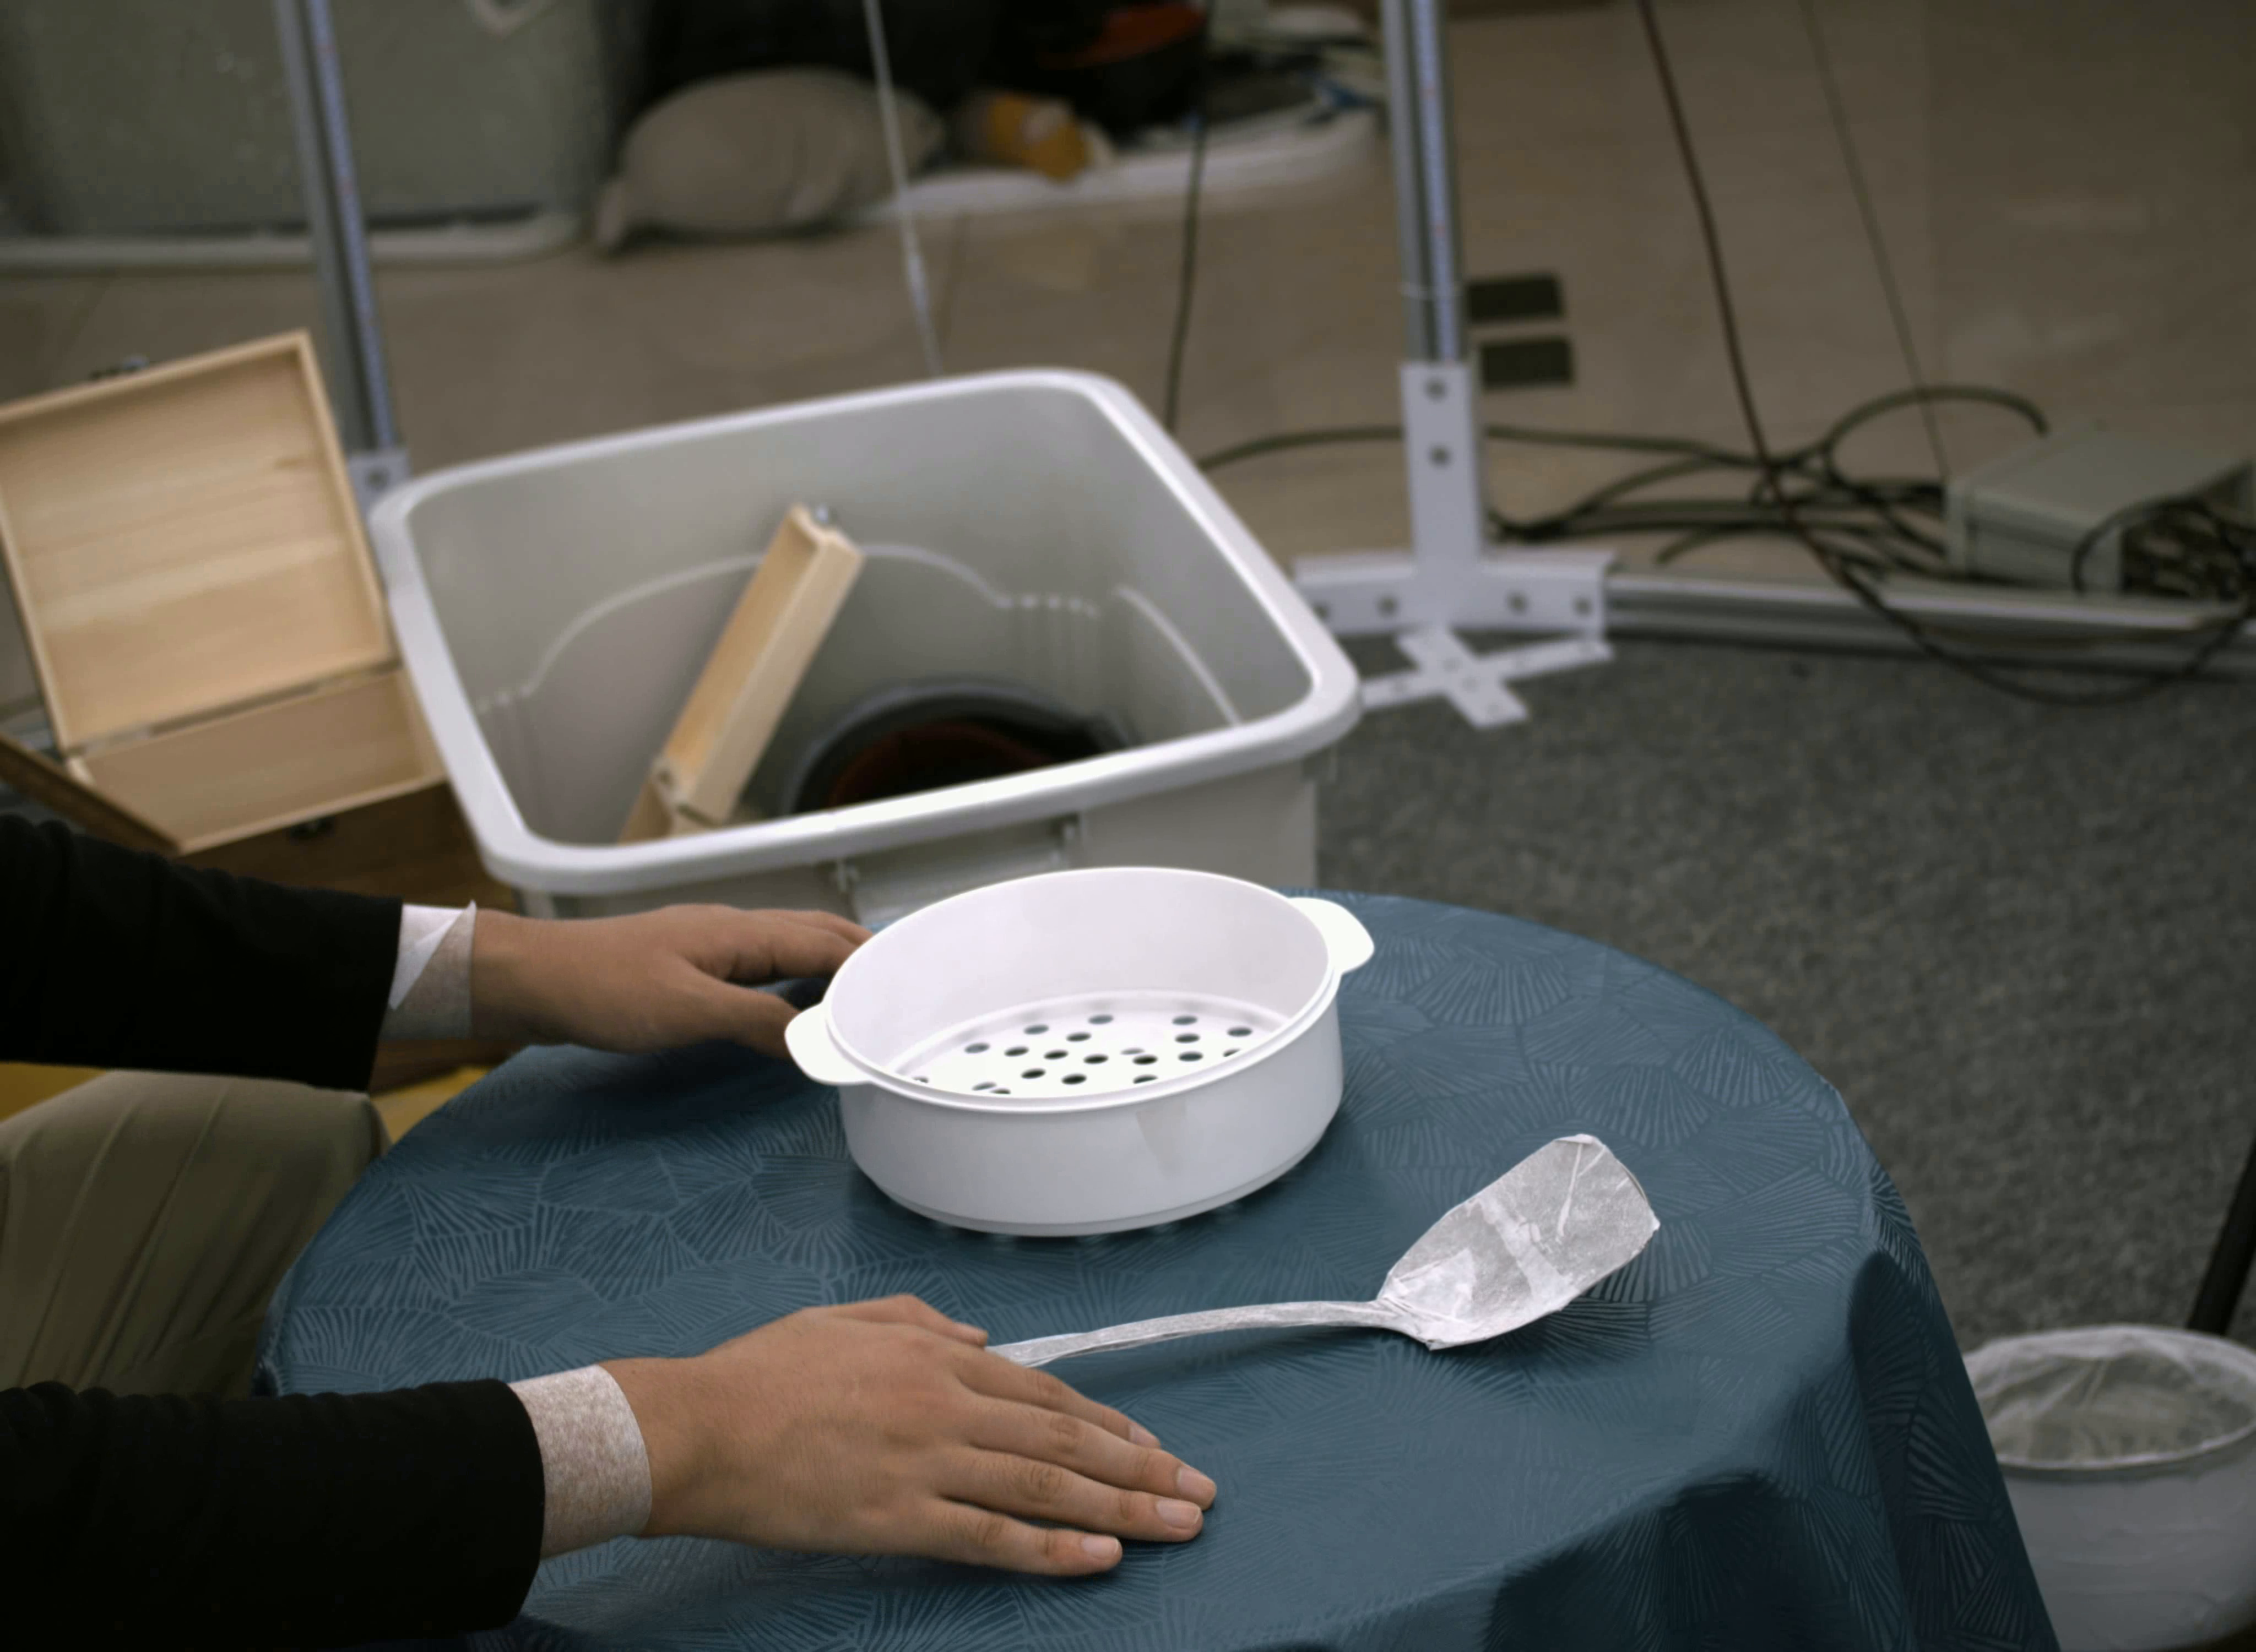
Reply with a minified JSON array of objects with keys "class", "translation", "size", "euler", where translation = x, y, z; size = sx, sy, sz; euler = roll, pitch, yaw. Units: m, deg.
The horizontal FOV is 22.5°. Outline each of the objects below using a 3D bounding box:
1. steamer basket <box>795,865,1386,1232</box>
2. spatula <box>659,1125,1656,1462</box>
[{"class":"steamer basket","translation":[-0.010,0.086,2.181],"size":[0.230,0.070,0.199],"euler":[-13,25,-12]},{"class":"spatula","translation":[0.010,0.176,2.022],"size":[0.364,0.045,0.097],"euler":[-10,27,-8]}]
